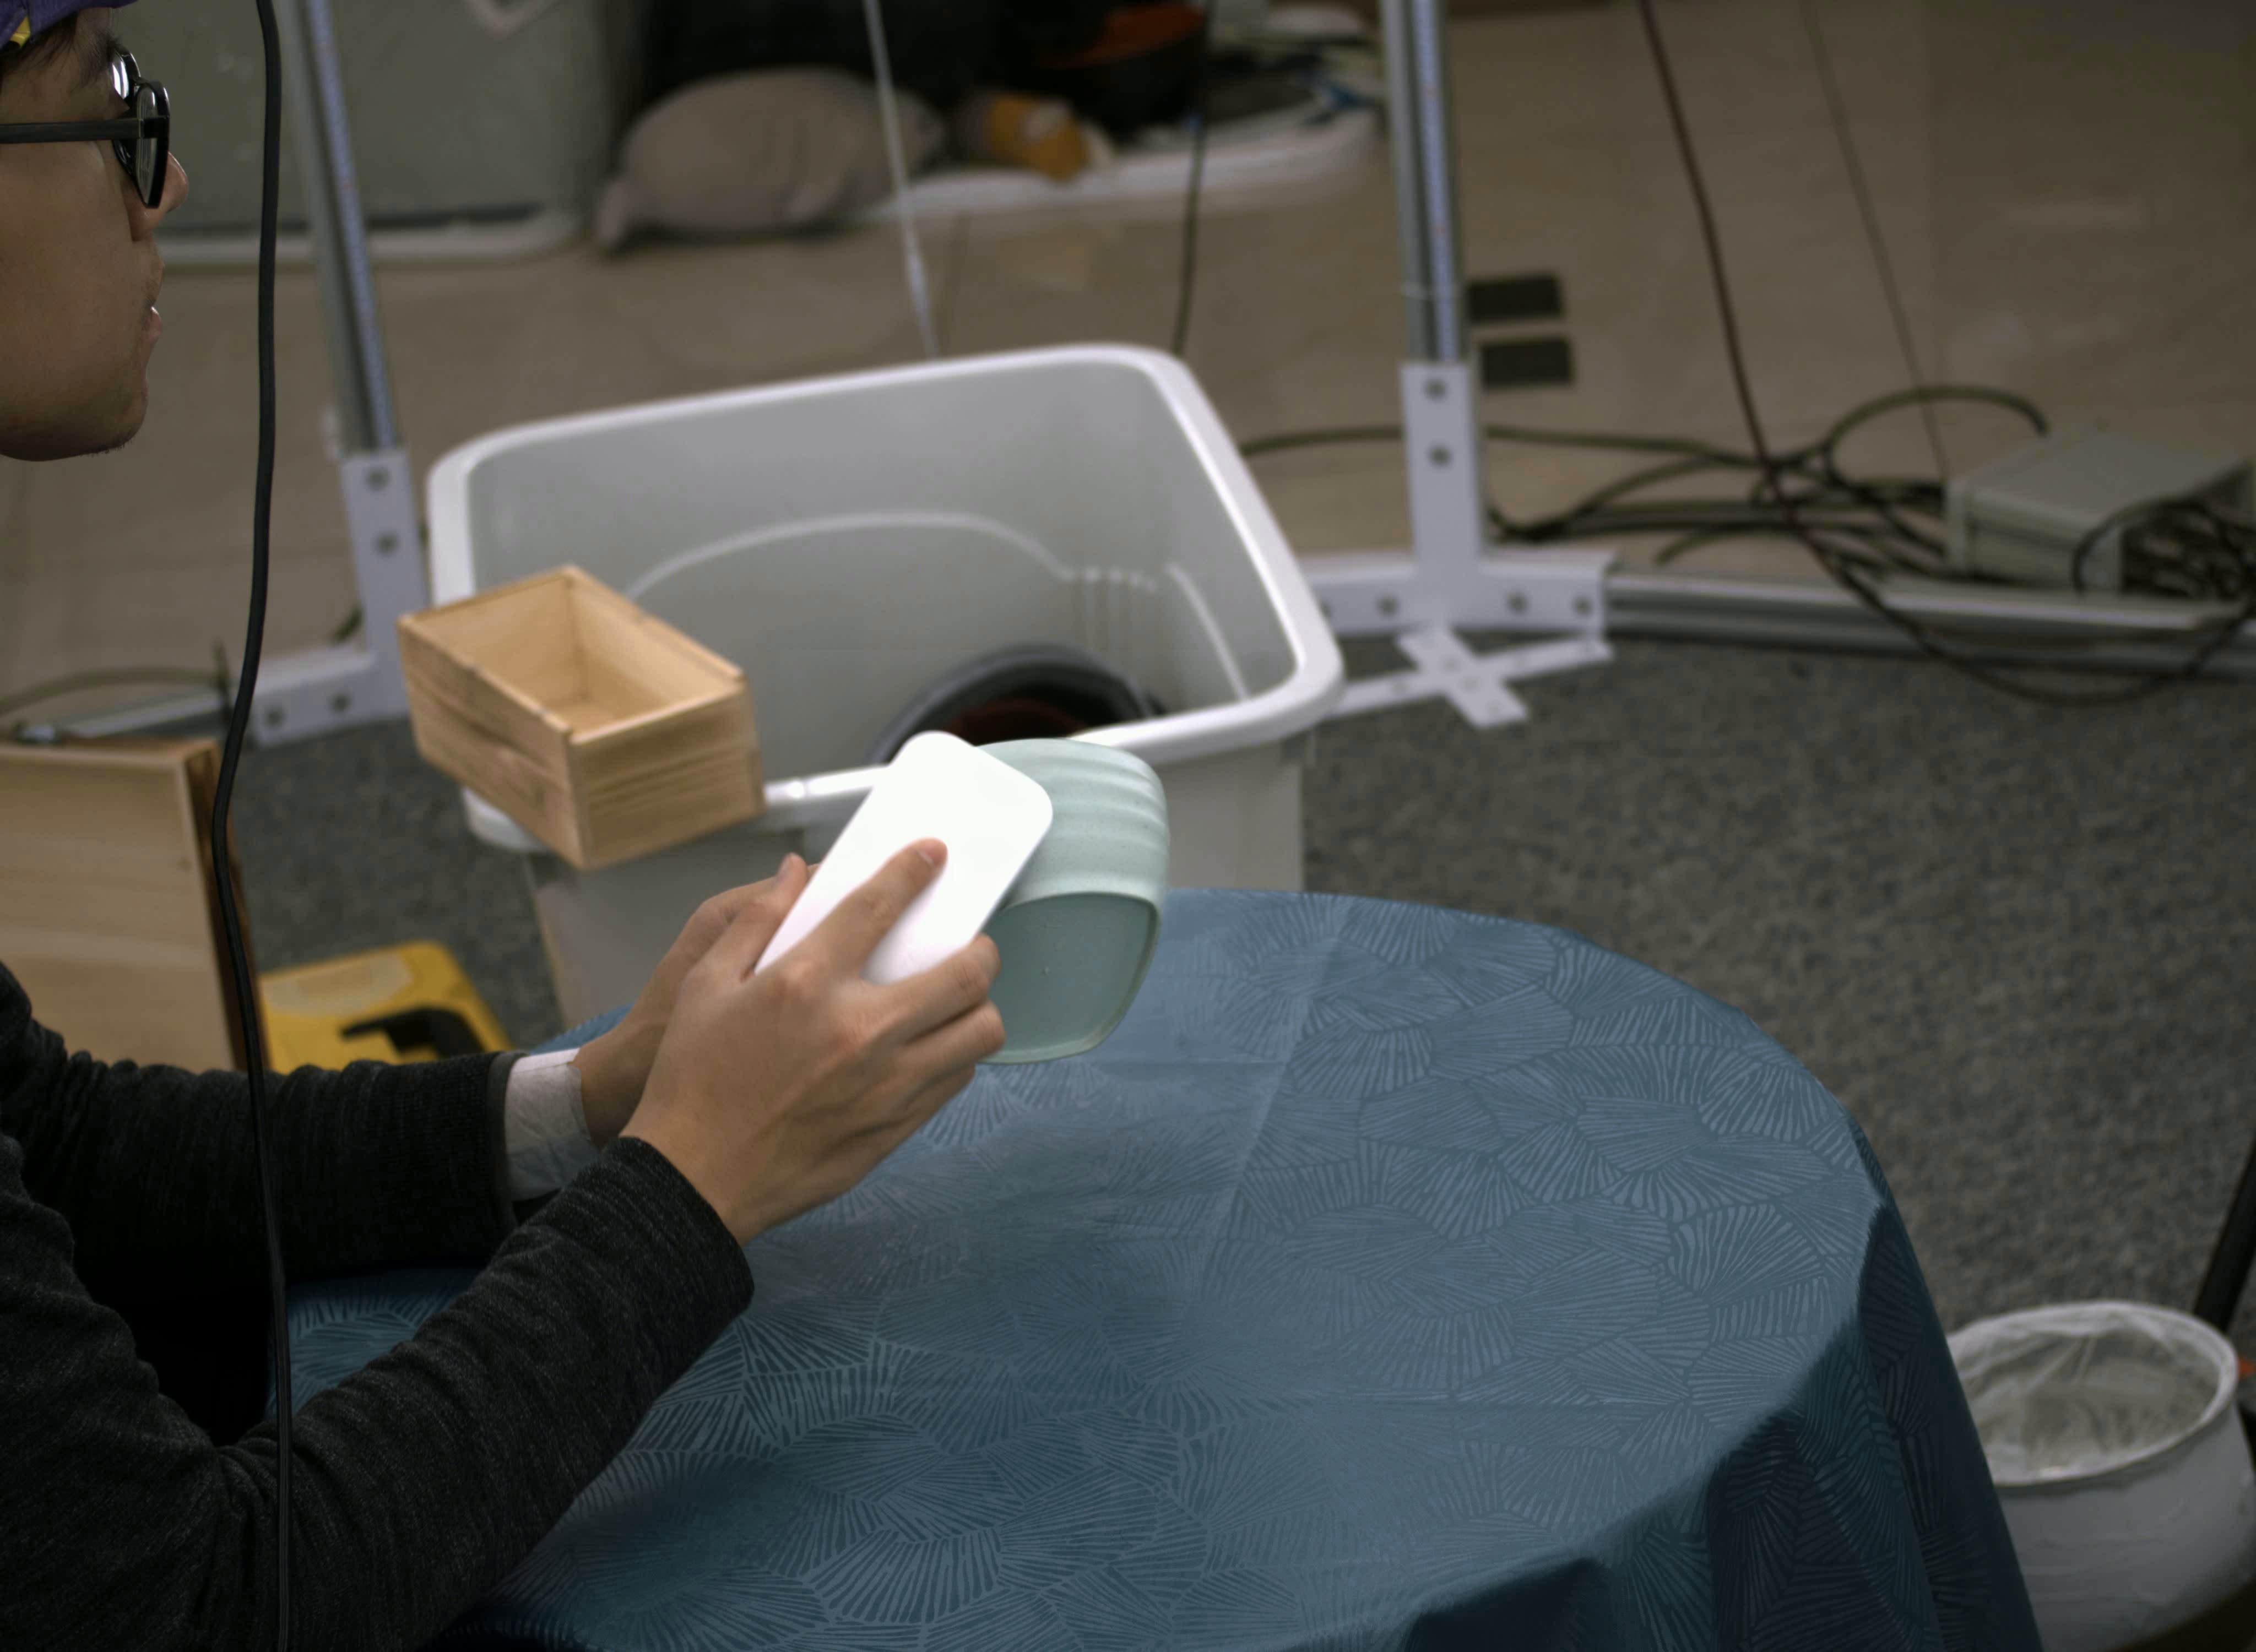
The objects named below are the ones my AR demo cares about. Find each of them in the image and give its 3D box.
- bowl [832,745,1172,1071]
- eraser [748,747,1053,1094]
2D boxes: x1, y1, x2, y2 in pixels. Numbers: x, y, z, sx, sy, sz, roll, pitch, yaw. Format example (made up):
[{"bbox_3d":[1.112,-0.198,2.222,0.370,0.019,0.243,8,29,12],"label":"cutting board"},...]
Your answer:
[{"bbox_3d":[-0.042,0.041,2.111,0.151,0.154,0.058,-15,46,-19],"label":"bowl"},{"bbox_3d":[-0.082,0.032,2.028,0.063,0.035,0.130,31,66,9],"label":"eraser"}]
